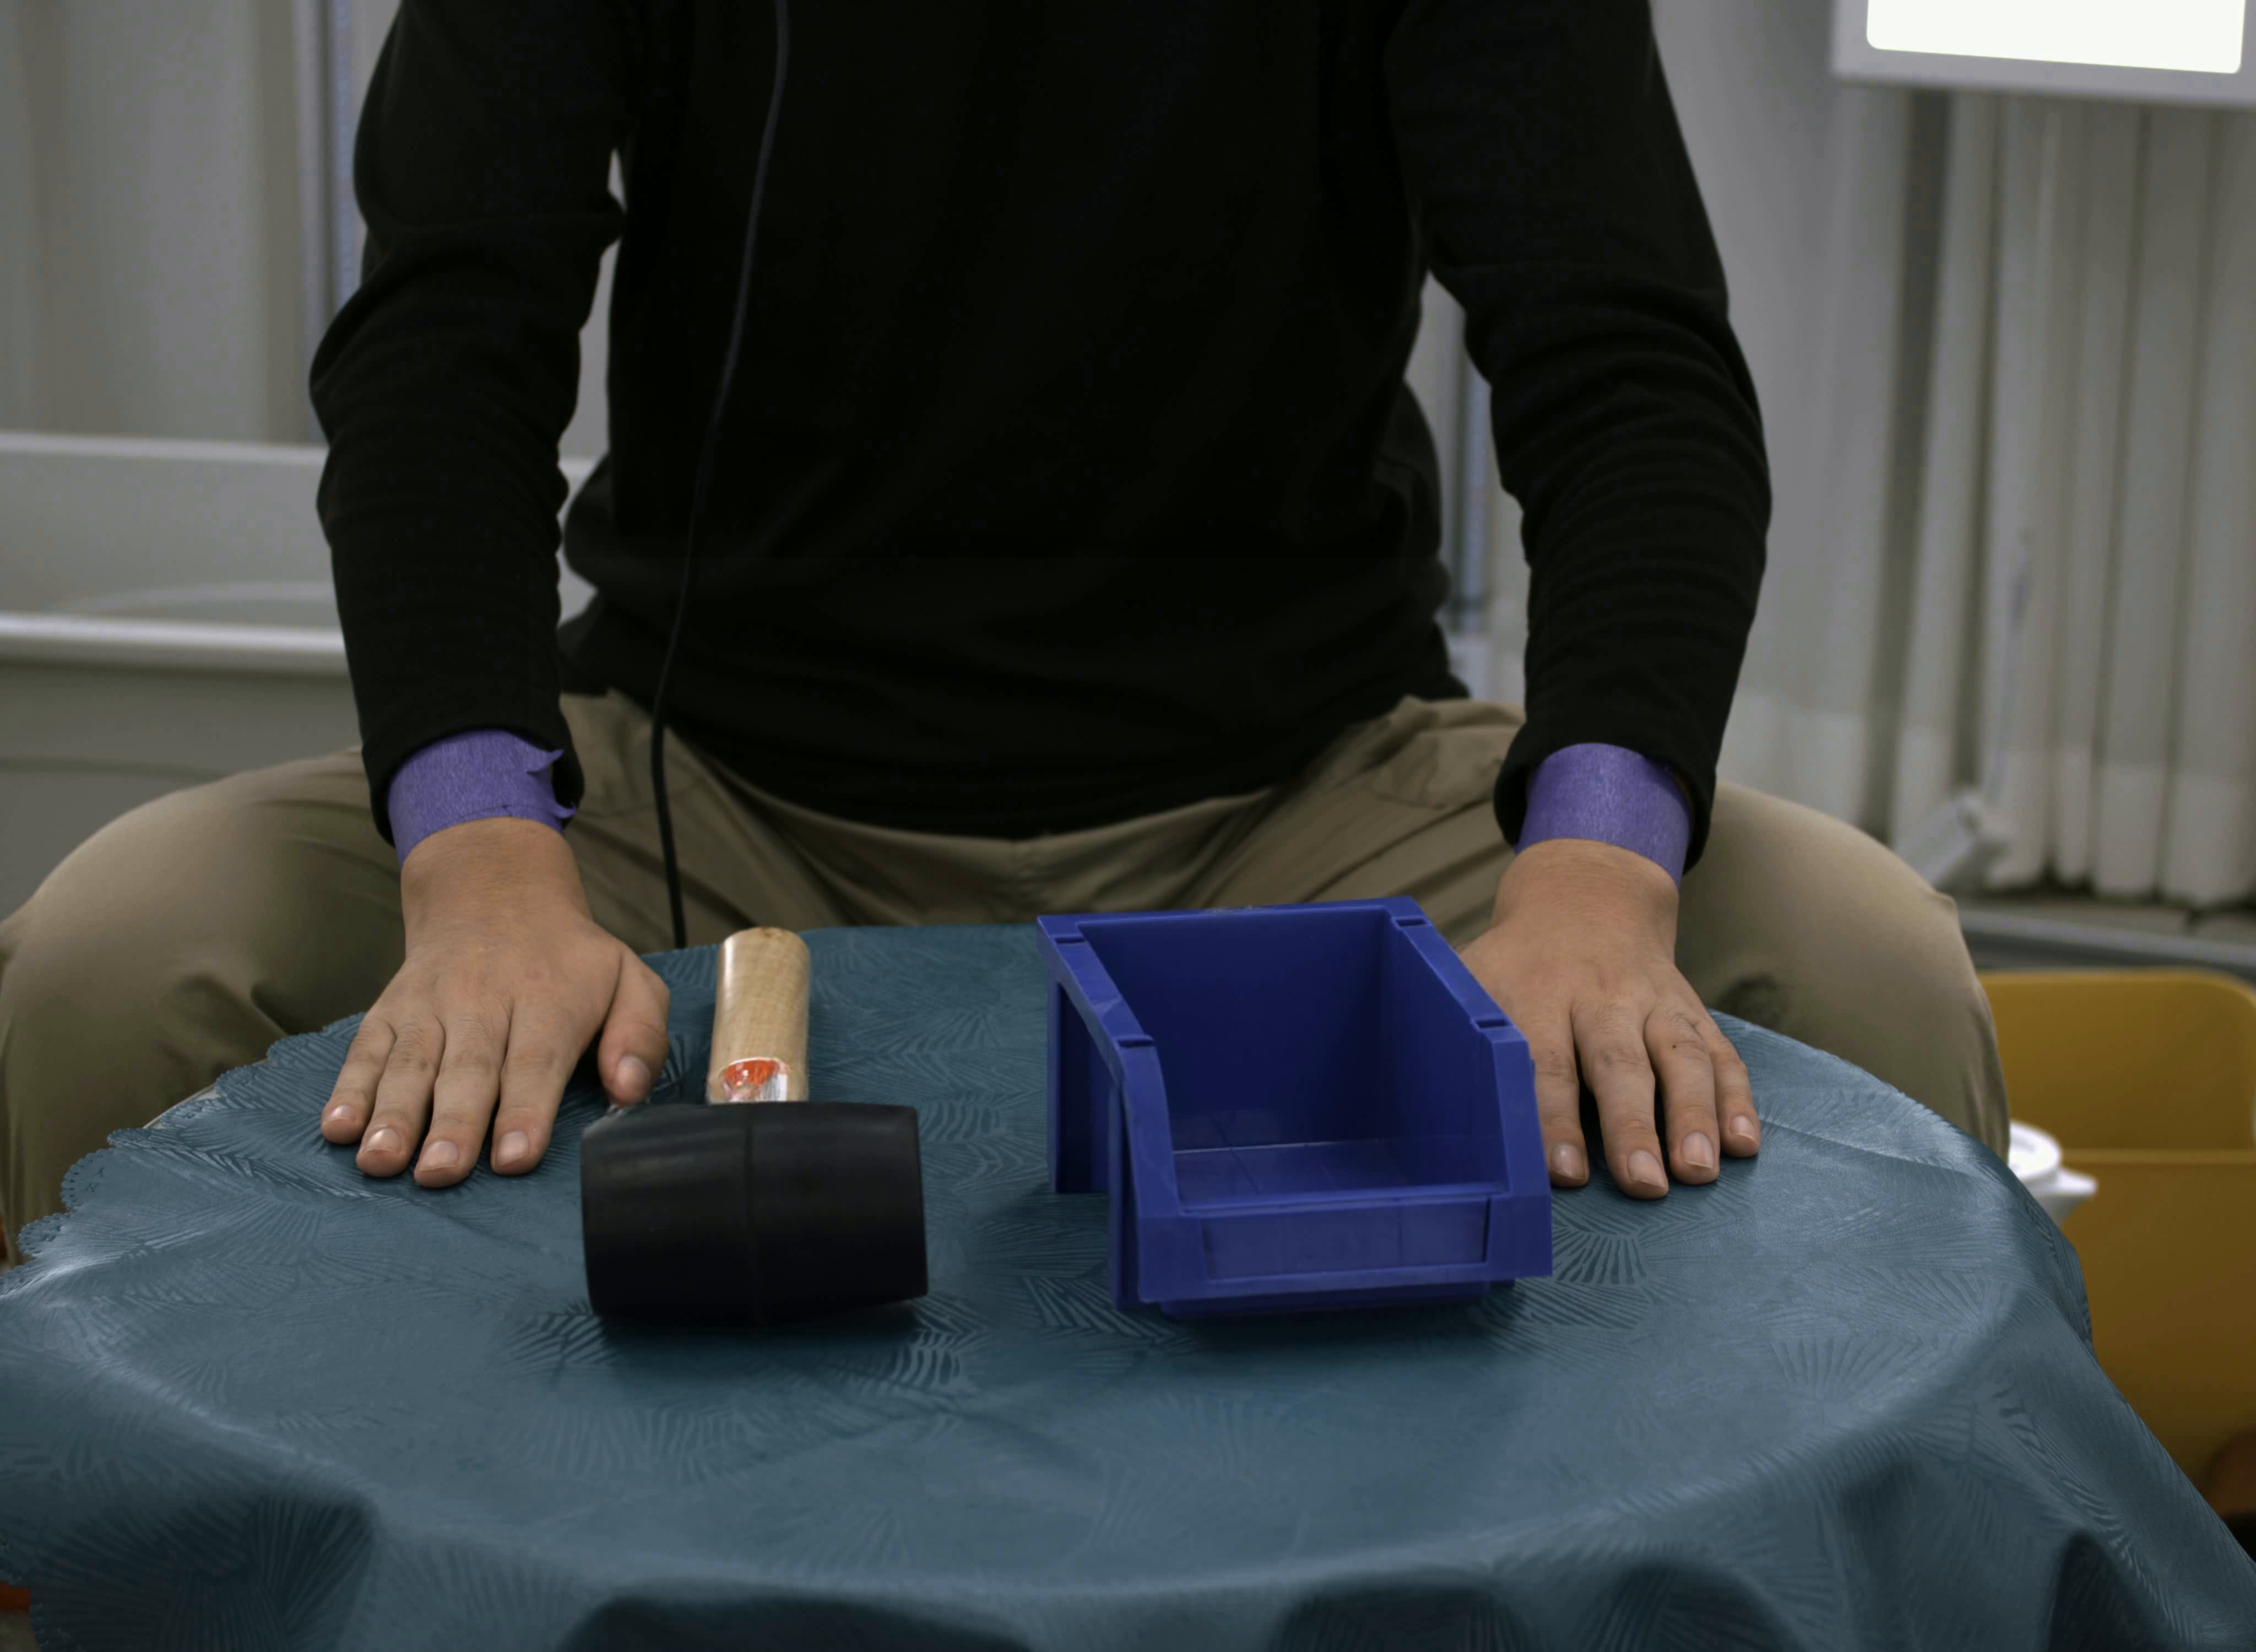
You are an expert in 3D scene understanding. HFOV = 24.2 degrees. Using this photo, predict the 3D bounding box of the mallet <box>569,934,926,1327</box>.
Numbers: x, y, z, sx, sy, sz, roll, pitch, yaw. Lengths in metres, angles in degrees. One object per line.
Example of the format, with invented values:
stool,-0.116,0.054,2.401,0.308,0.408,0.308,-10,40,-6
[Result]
mallet,-0.114,0.076,1.638,0.101,0.065,0.337,0,15,-3

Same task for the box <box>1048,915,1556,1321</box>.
box,0.050,0.088,1.559,0.124,0.082,0.178,-2,13,-9
